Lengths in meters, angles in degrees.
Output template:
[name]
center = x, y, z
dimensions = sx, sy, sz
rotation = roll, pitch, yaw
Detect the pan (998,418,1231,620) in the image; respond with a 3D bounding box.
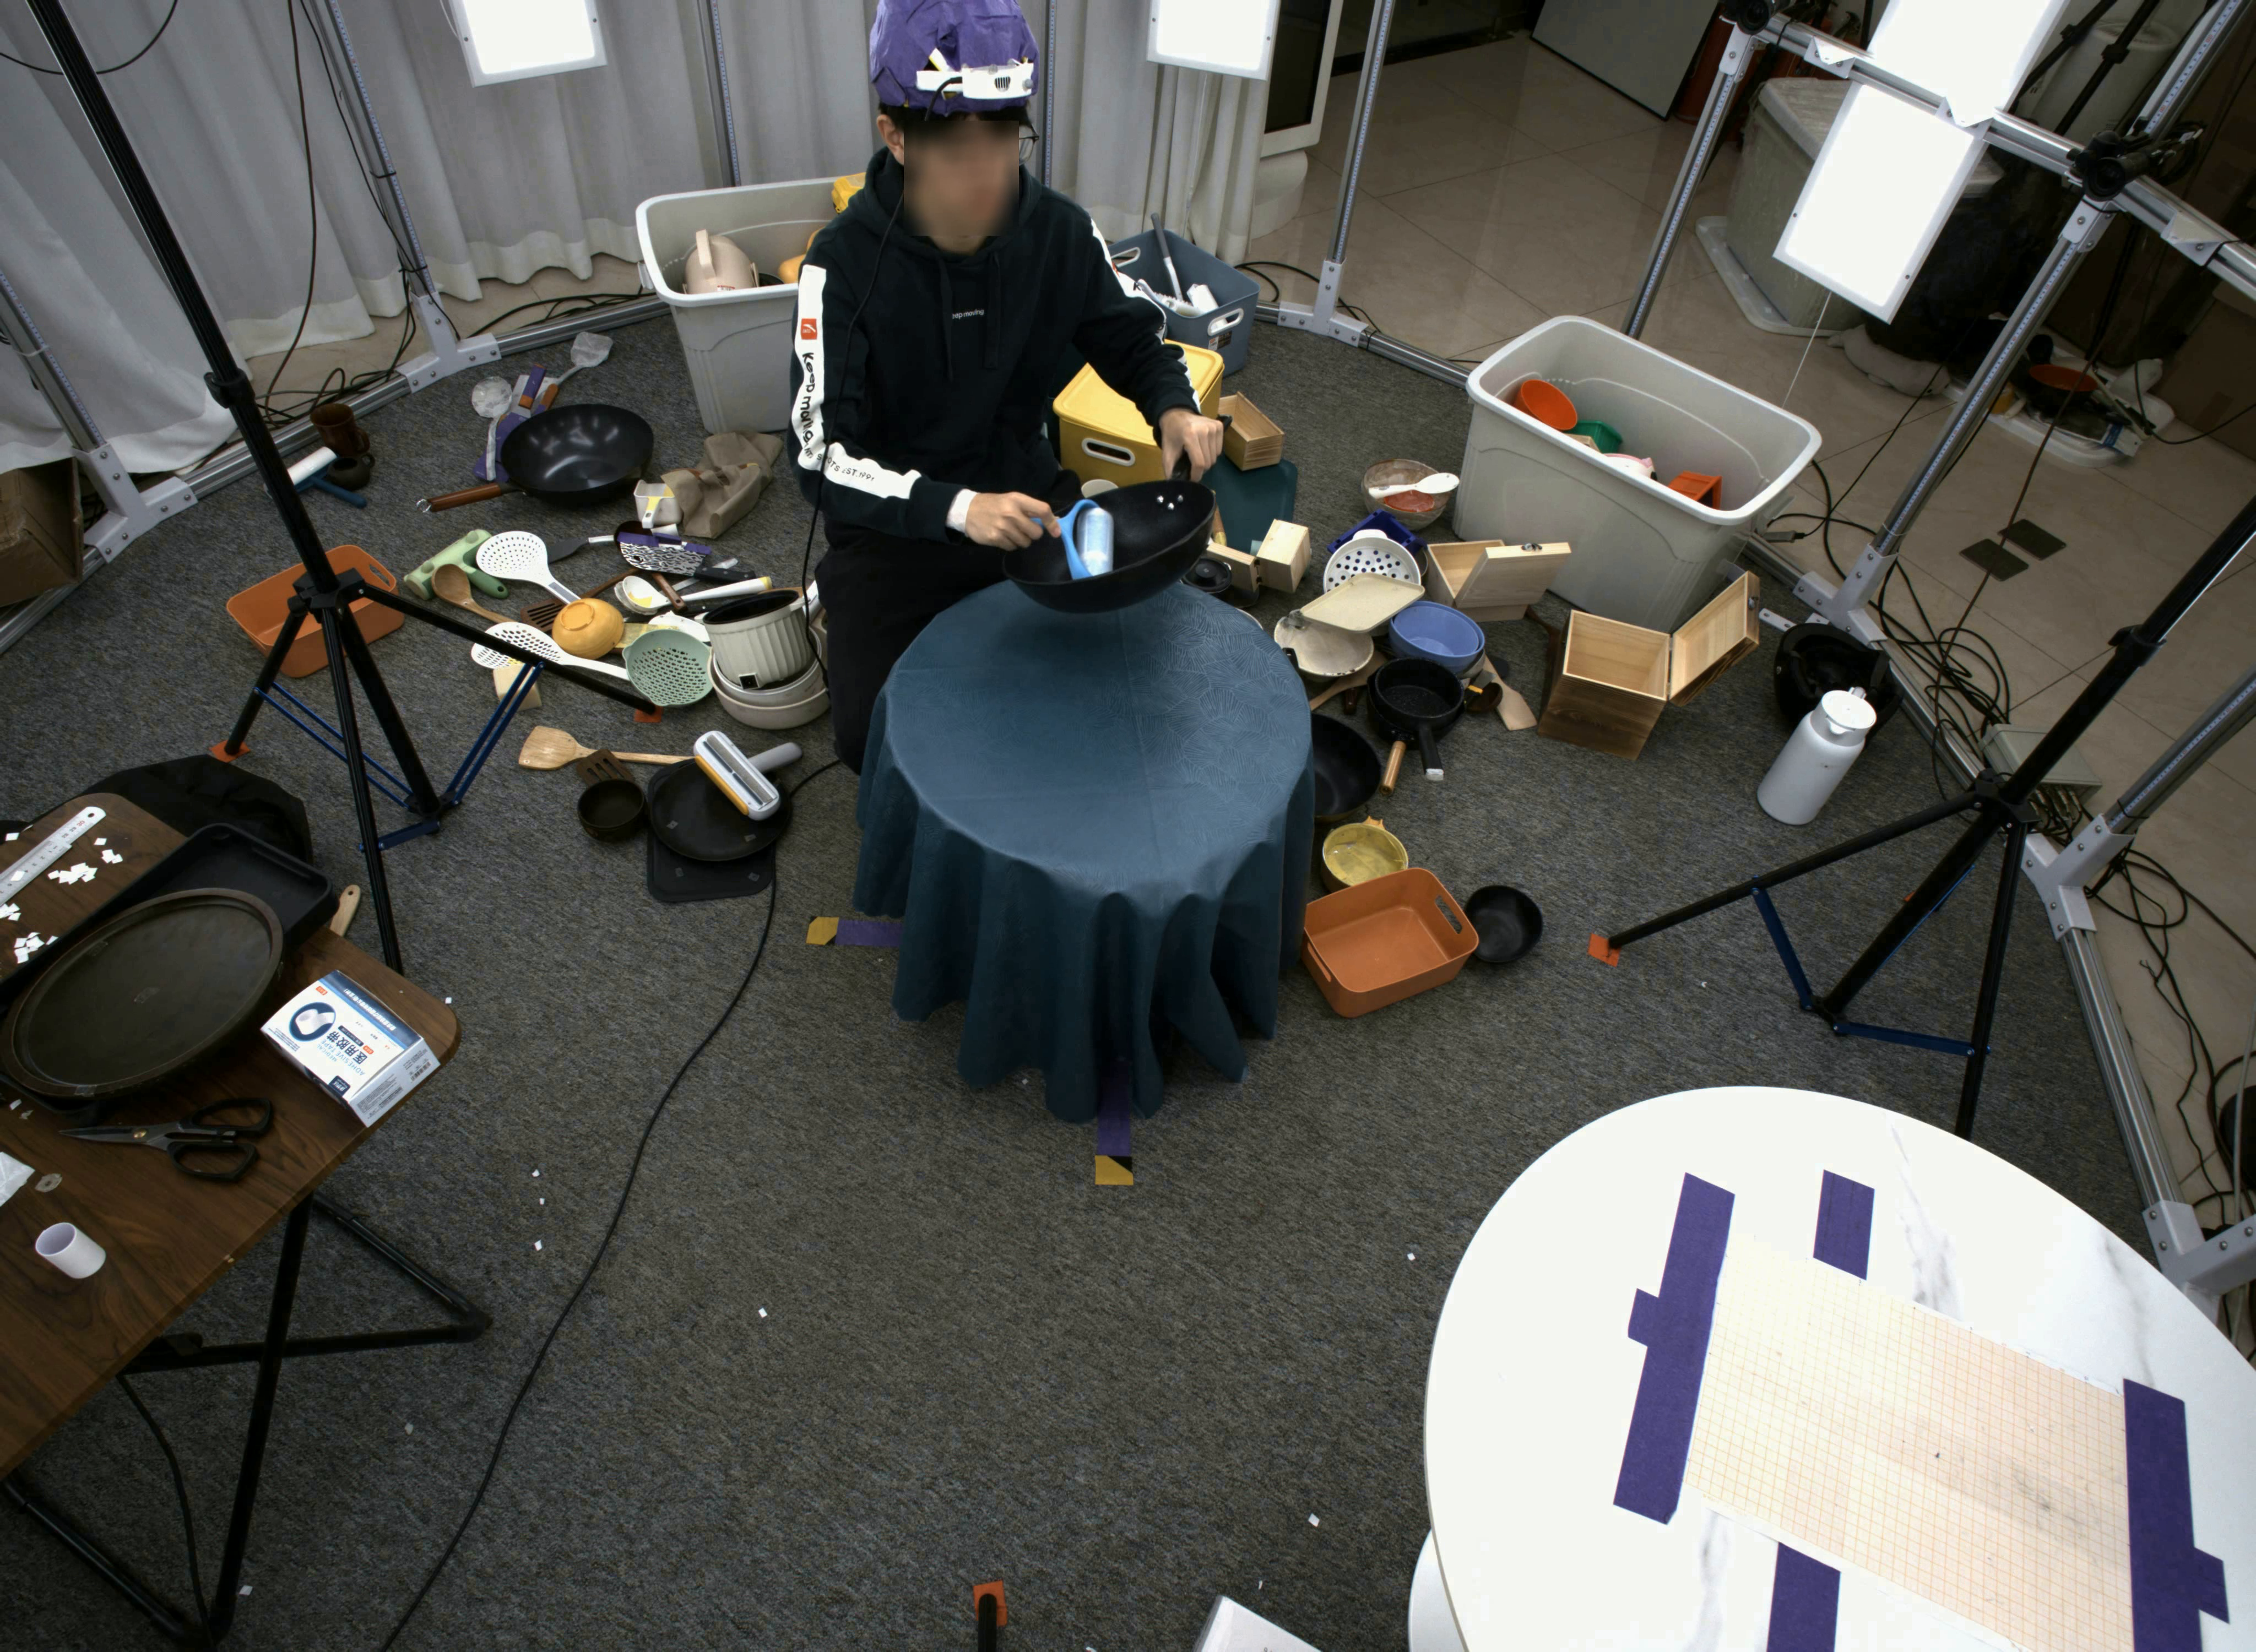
[pan]
center = 0.024, -0.426, 1.823
dimensions = 0.313, 0.109, 0.483
rotation = 10, 43, 38

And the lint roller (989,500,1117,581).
[lint roller]
center = -0.096, -0.387, 1.776
dimensions = 0.179, 0.066, 0.235
rotation = 16, 41, -17
